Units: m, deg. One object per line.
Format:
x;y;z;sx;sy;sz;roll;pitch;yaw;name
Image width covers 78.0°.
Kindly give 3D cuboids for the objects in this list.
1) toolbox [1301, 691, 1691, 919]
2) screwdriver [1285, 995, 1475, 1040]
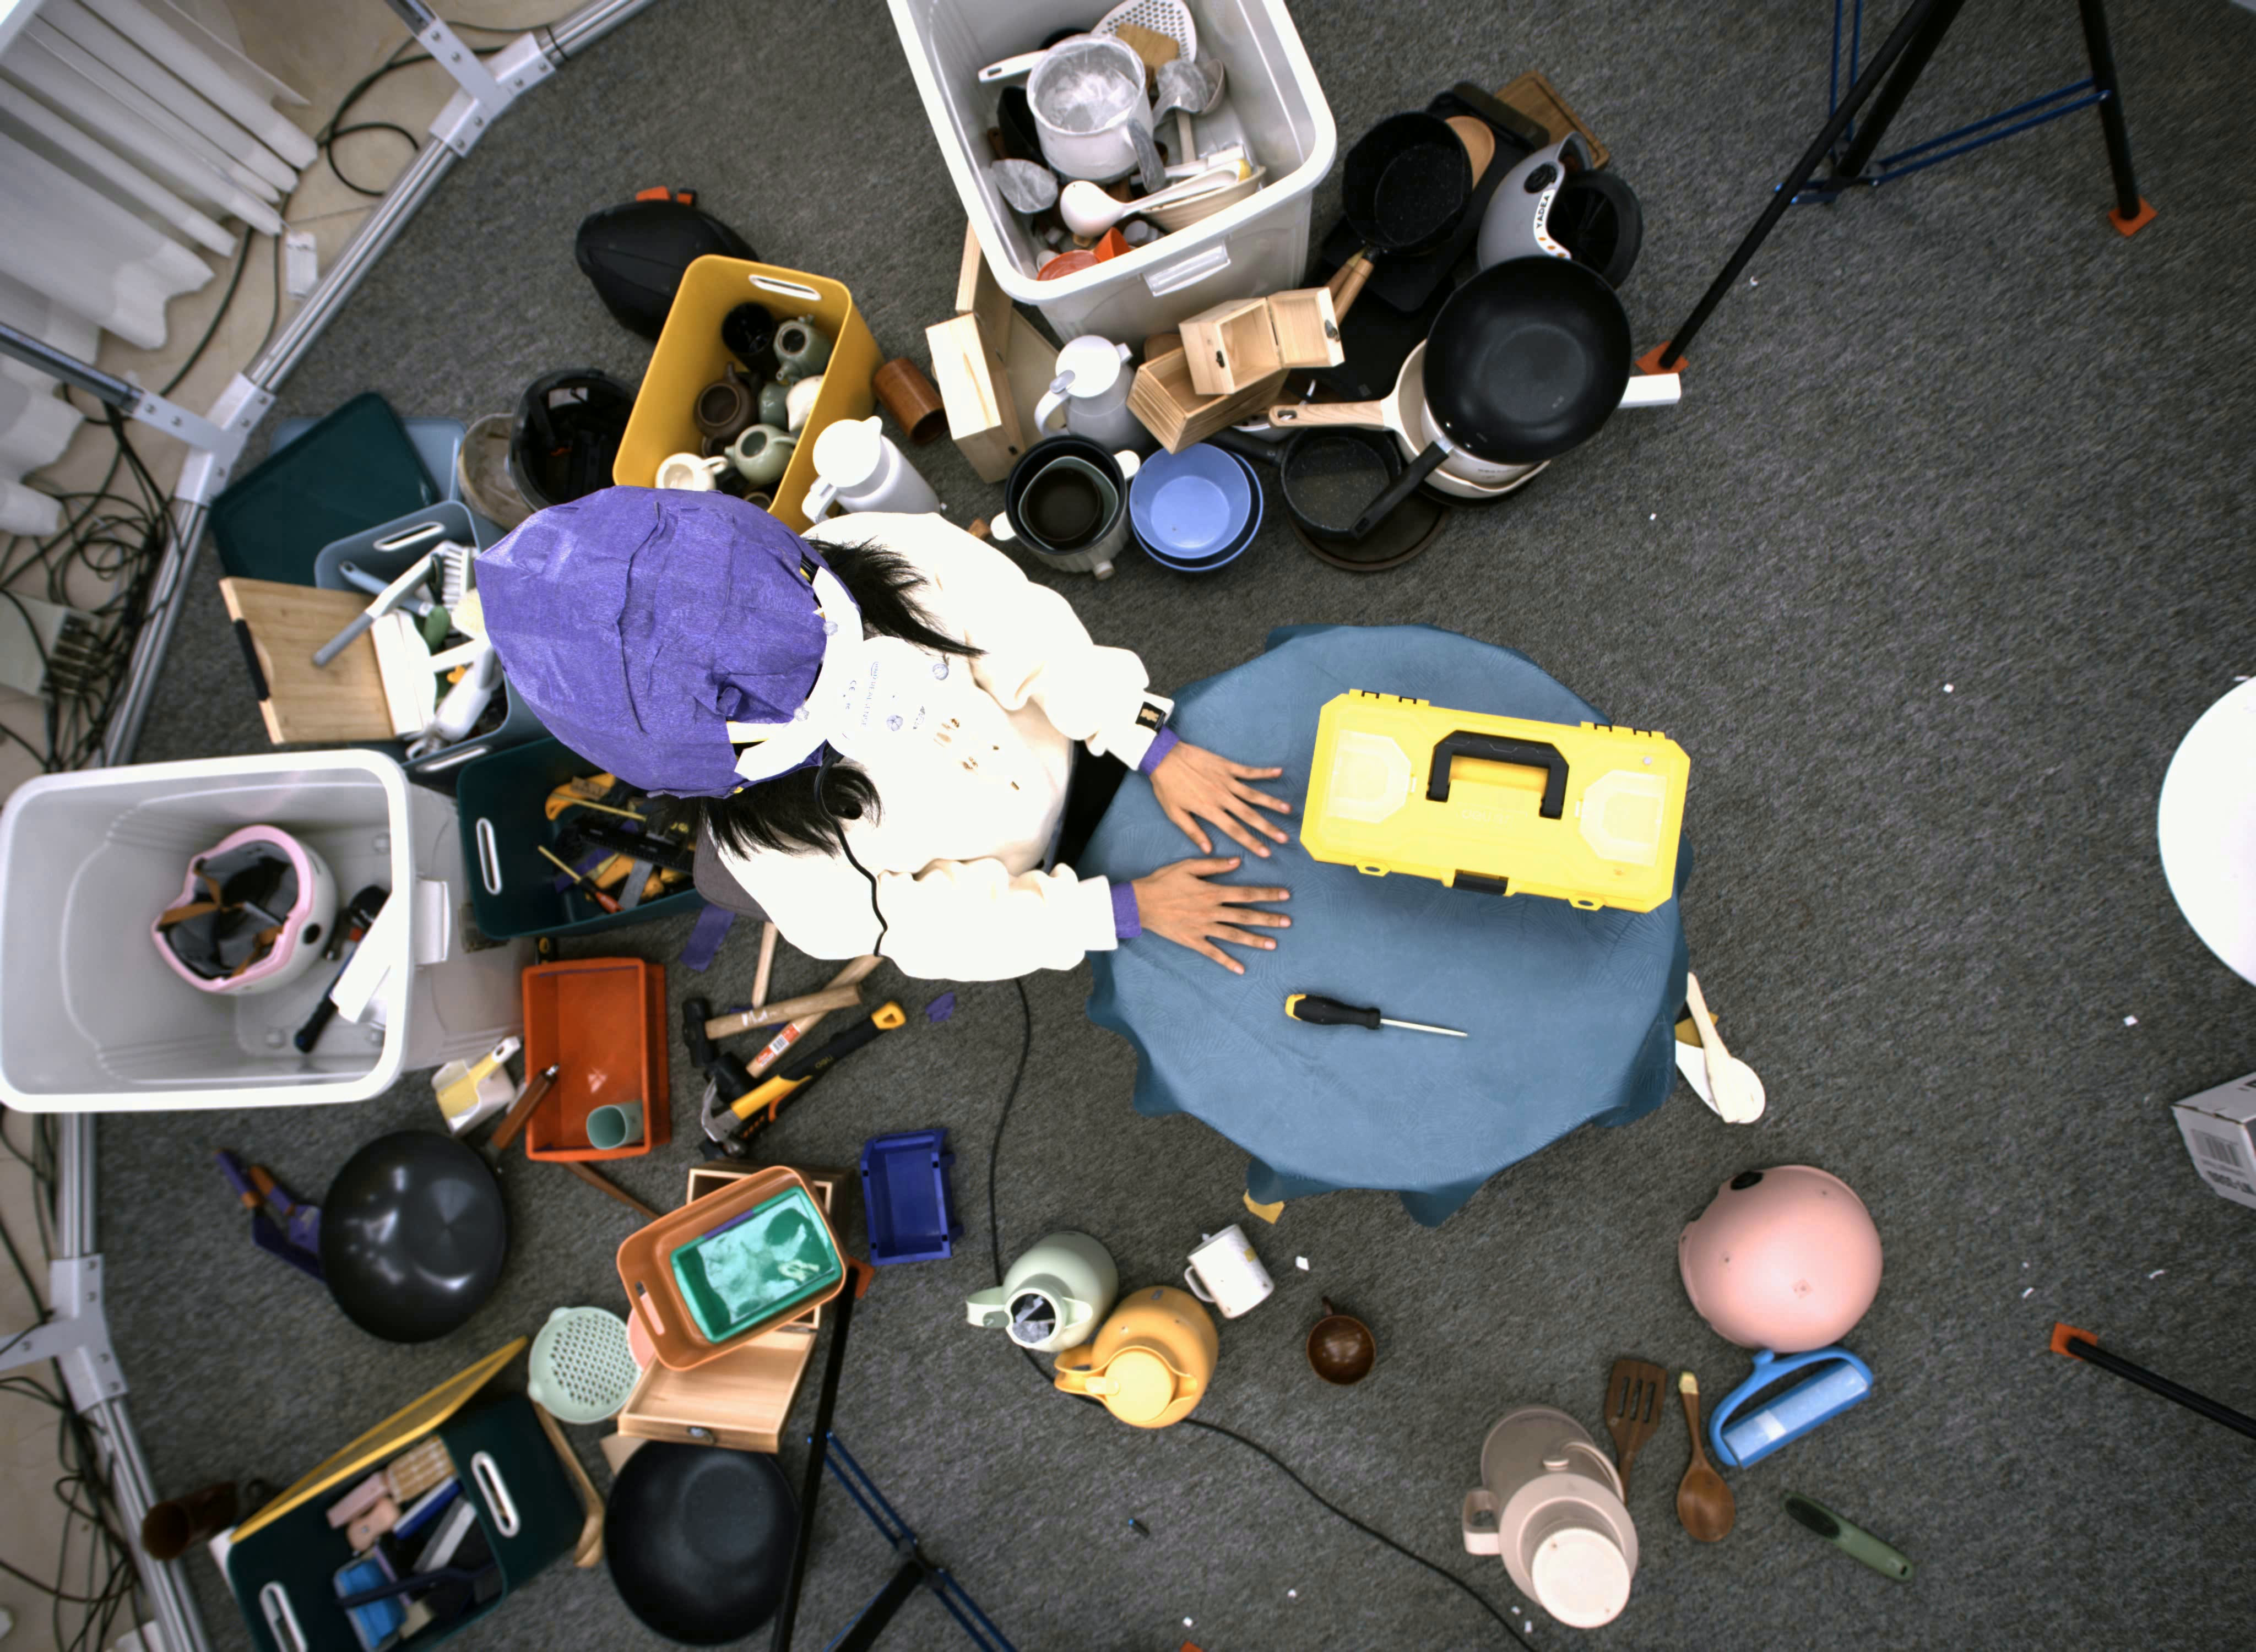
0.356;-0.021;1.361;0.352;0.173;0.181;9;87;11;toolbox
0.263;0.203;1.449;0.198;0.031;0.031;9;87;7;screwdriver
